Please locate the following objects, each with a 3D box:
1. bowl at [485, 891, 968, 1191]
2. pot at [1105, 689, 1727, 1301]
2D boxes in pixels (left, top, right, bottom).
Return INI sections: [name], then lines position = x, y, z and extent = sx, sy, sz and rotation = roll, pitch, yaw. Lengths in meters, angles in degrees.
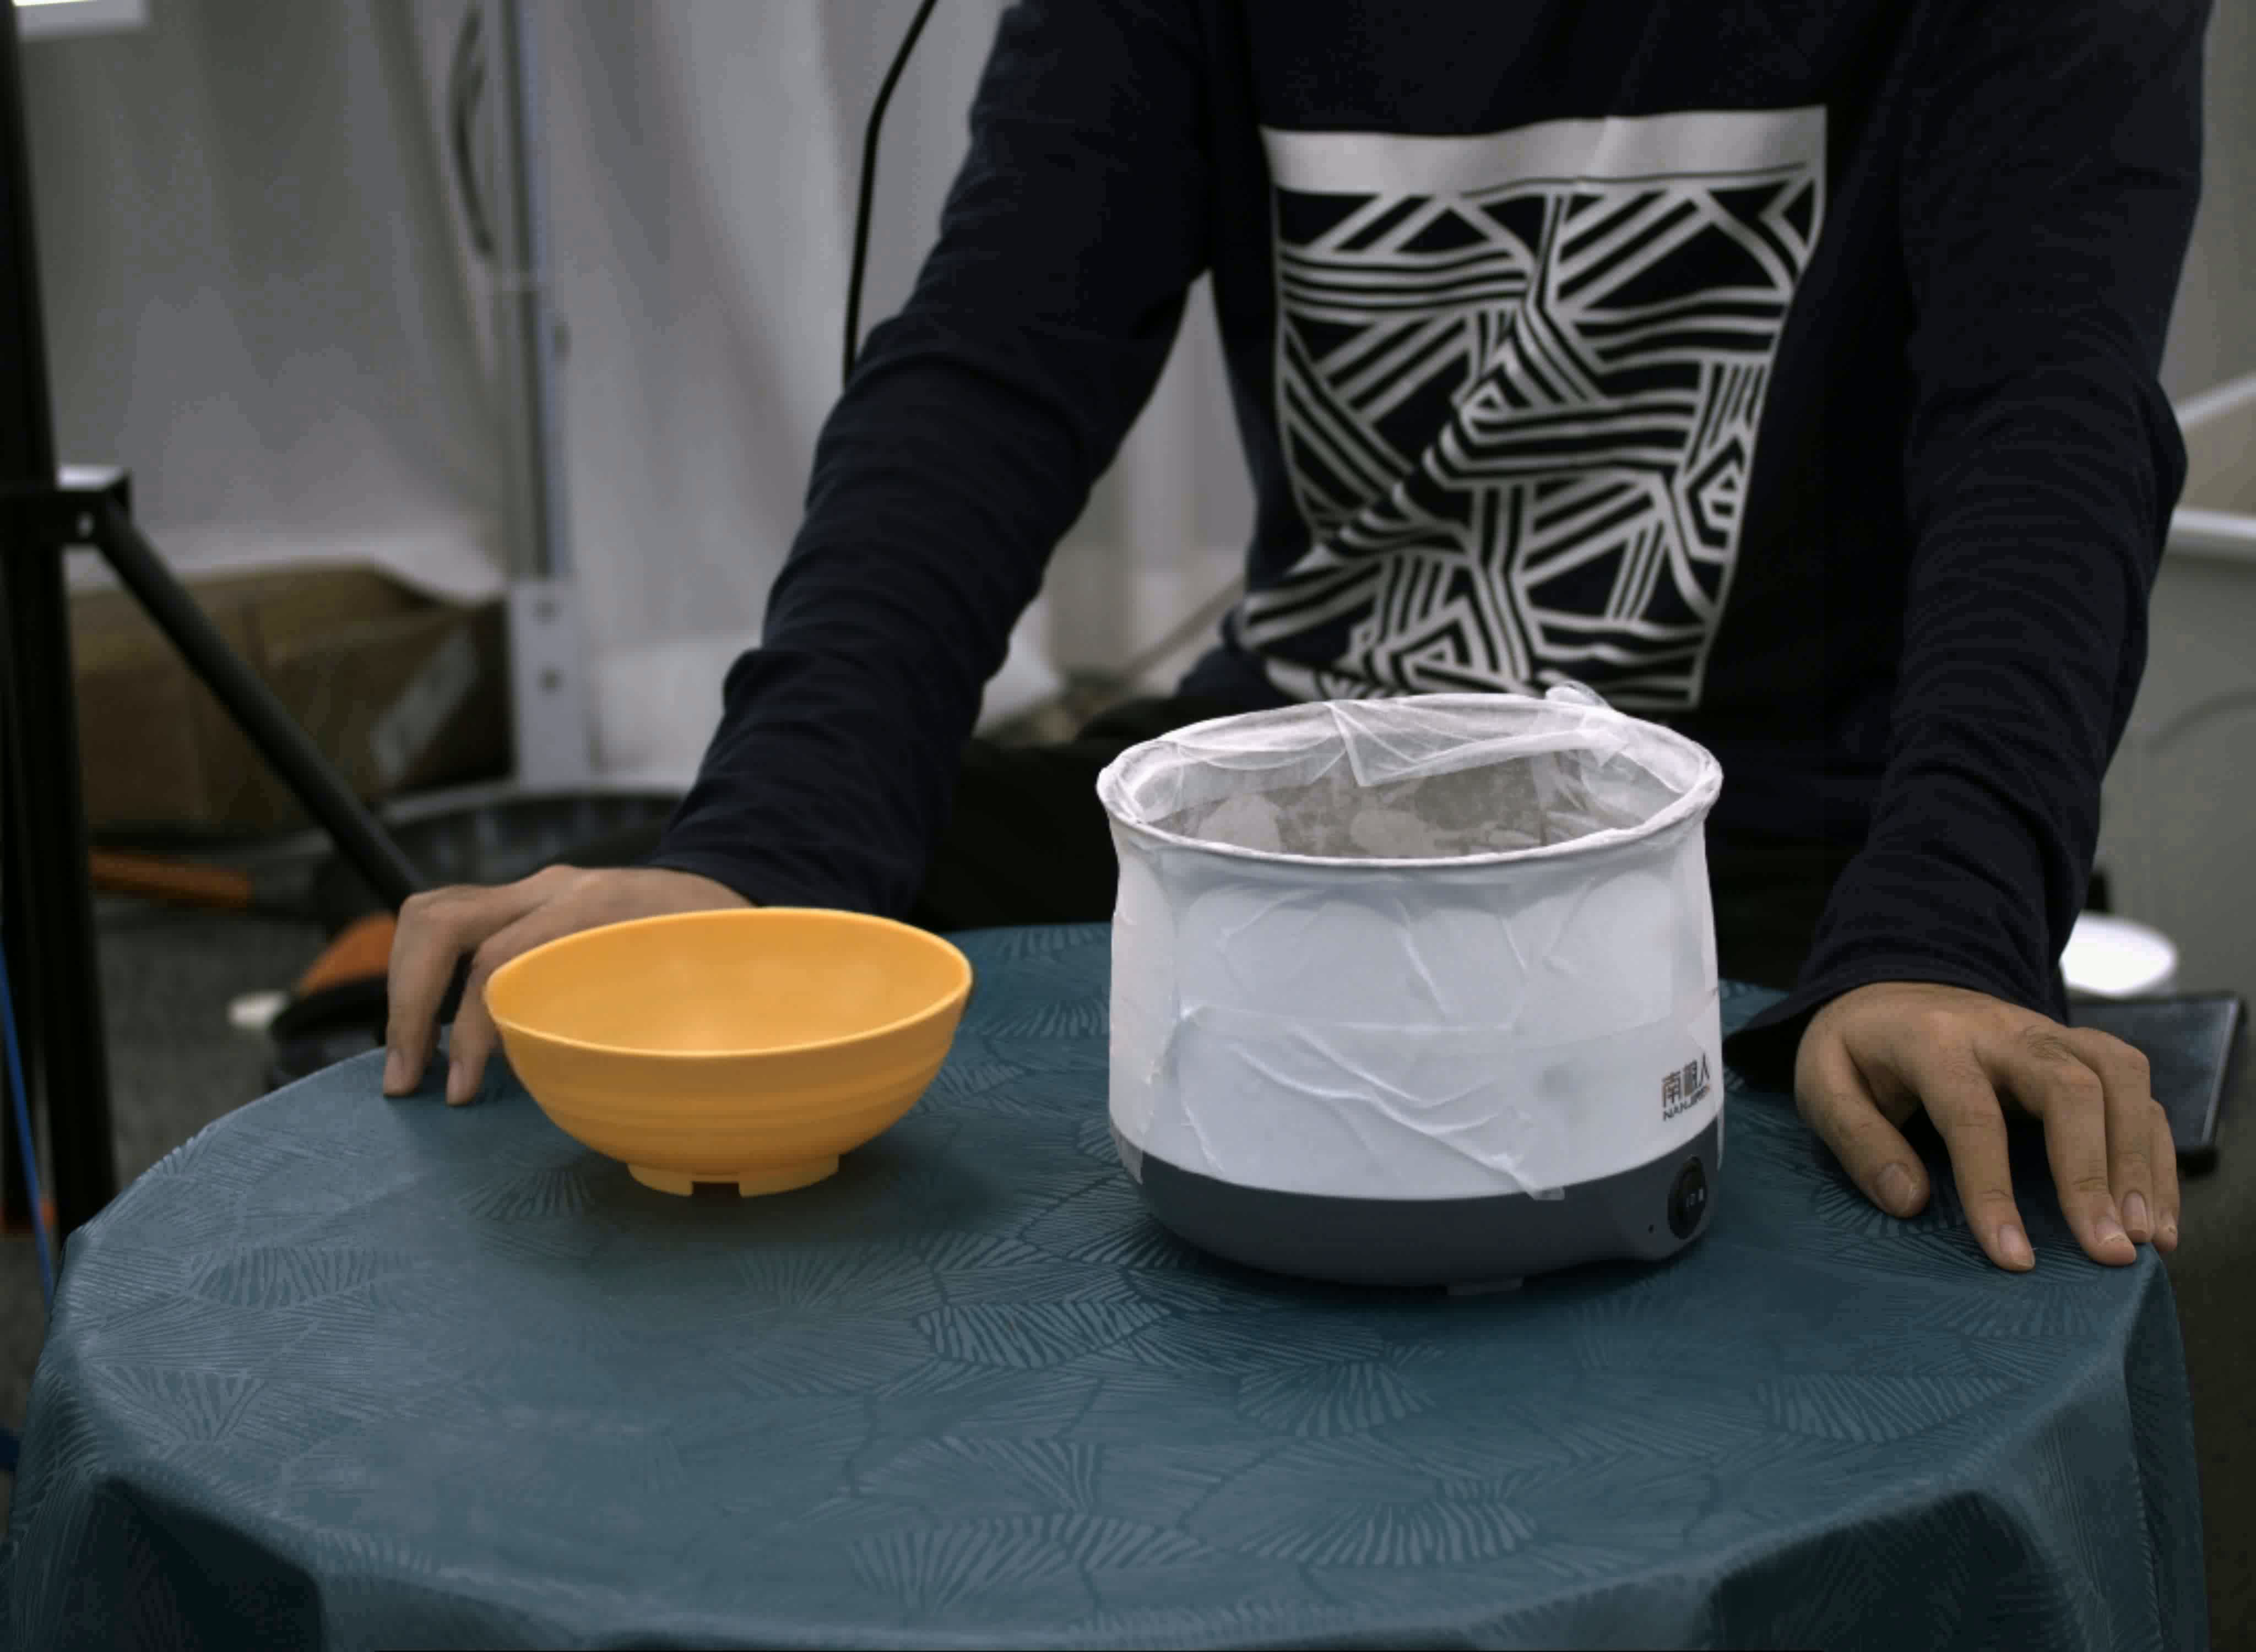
[bowl]
position = -0.119, 0.070, 1.597
extent = 0.144, 0.060, 0.146
rotation = -2, 18, -1
[pot]
position = 0.097, 0.042, 1.538
extent = 0.182, 0.136, 0.229
rotation = 7, 17, 31
